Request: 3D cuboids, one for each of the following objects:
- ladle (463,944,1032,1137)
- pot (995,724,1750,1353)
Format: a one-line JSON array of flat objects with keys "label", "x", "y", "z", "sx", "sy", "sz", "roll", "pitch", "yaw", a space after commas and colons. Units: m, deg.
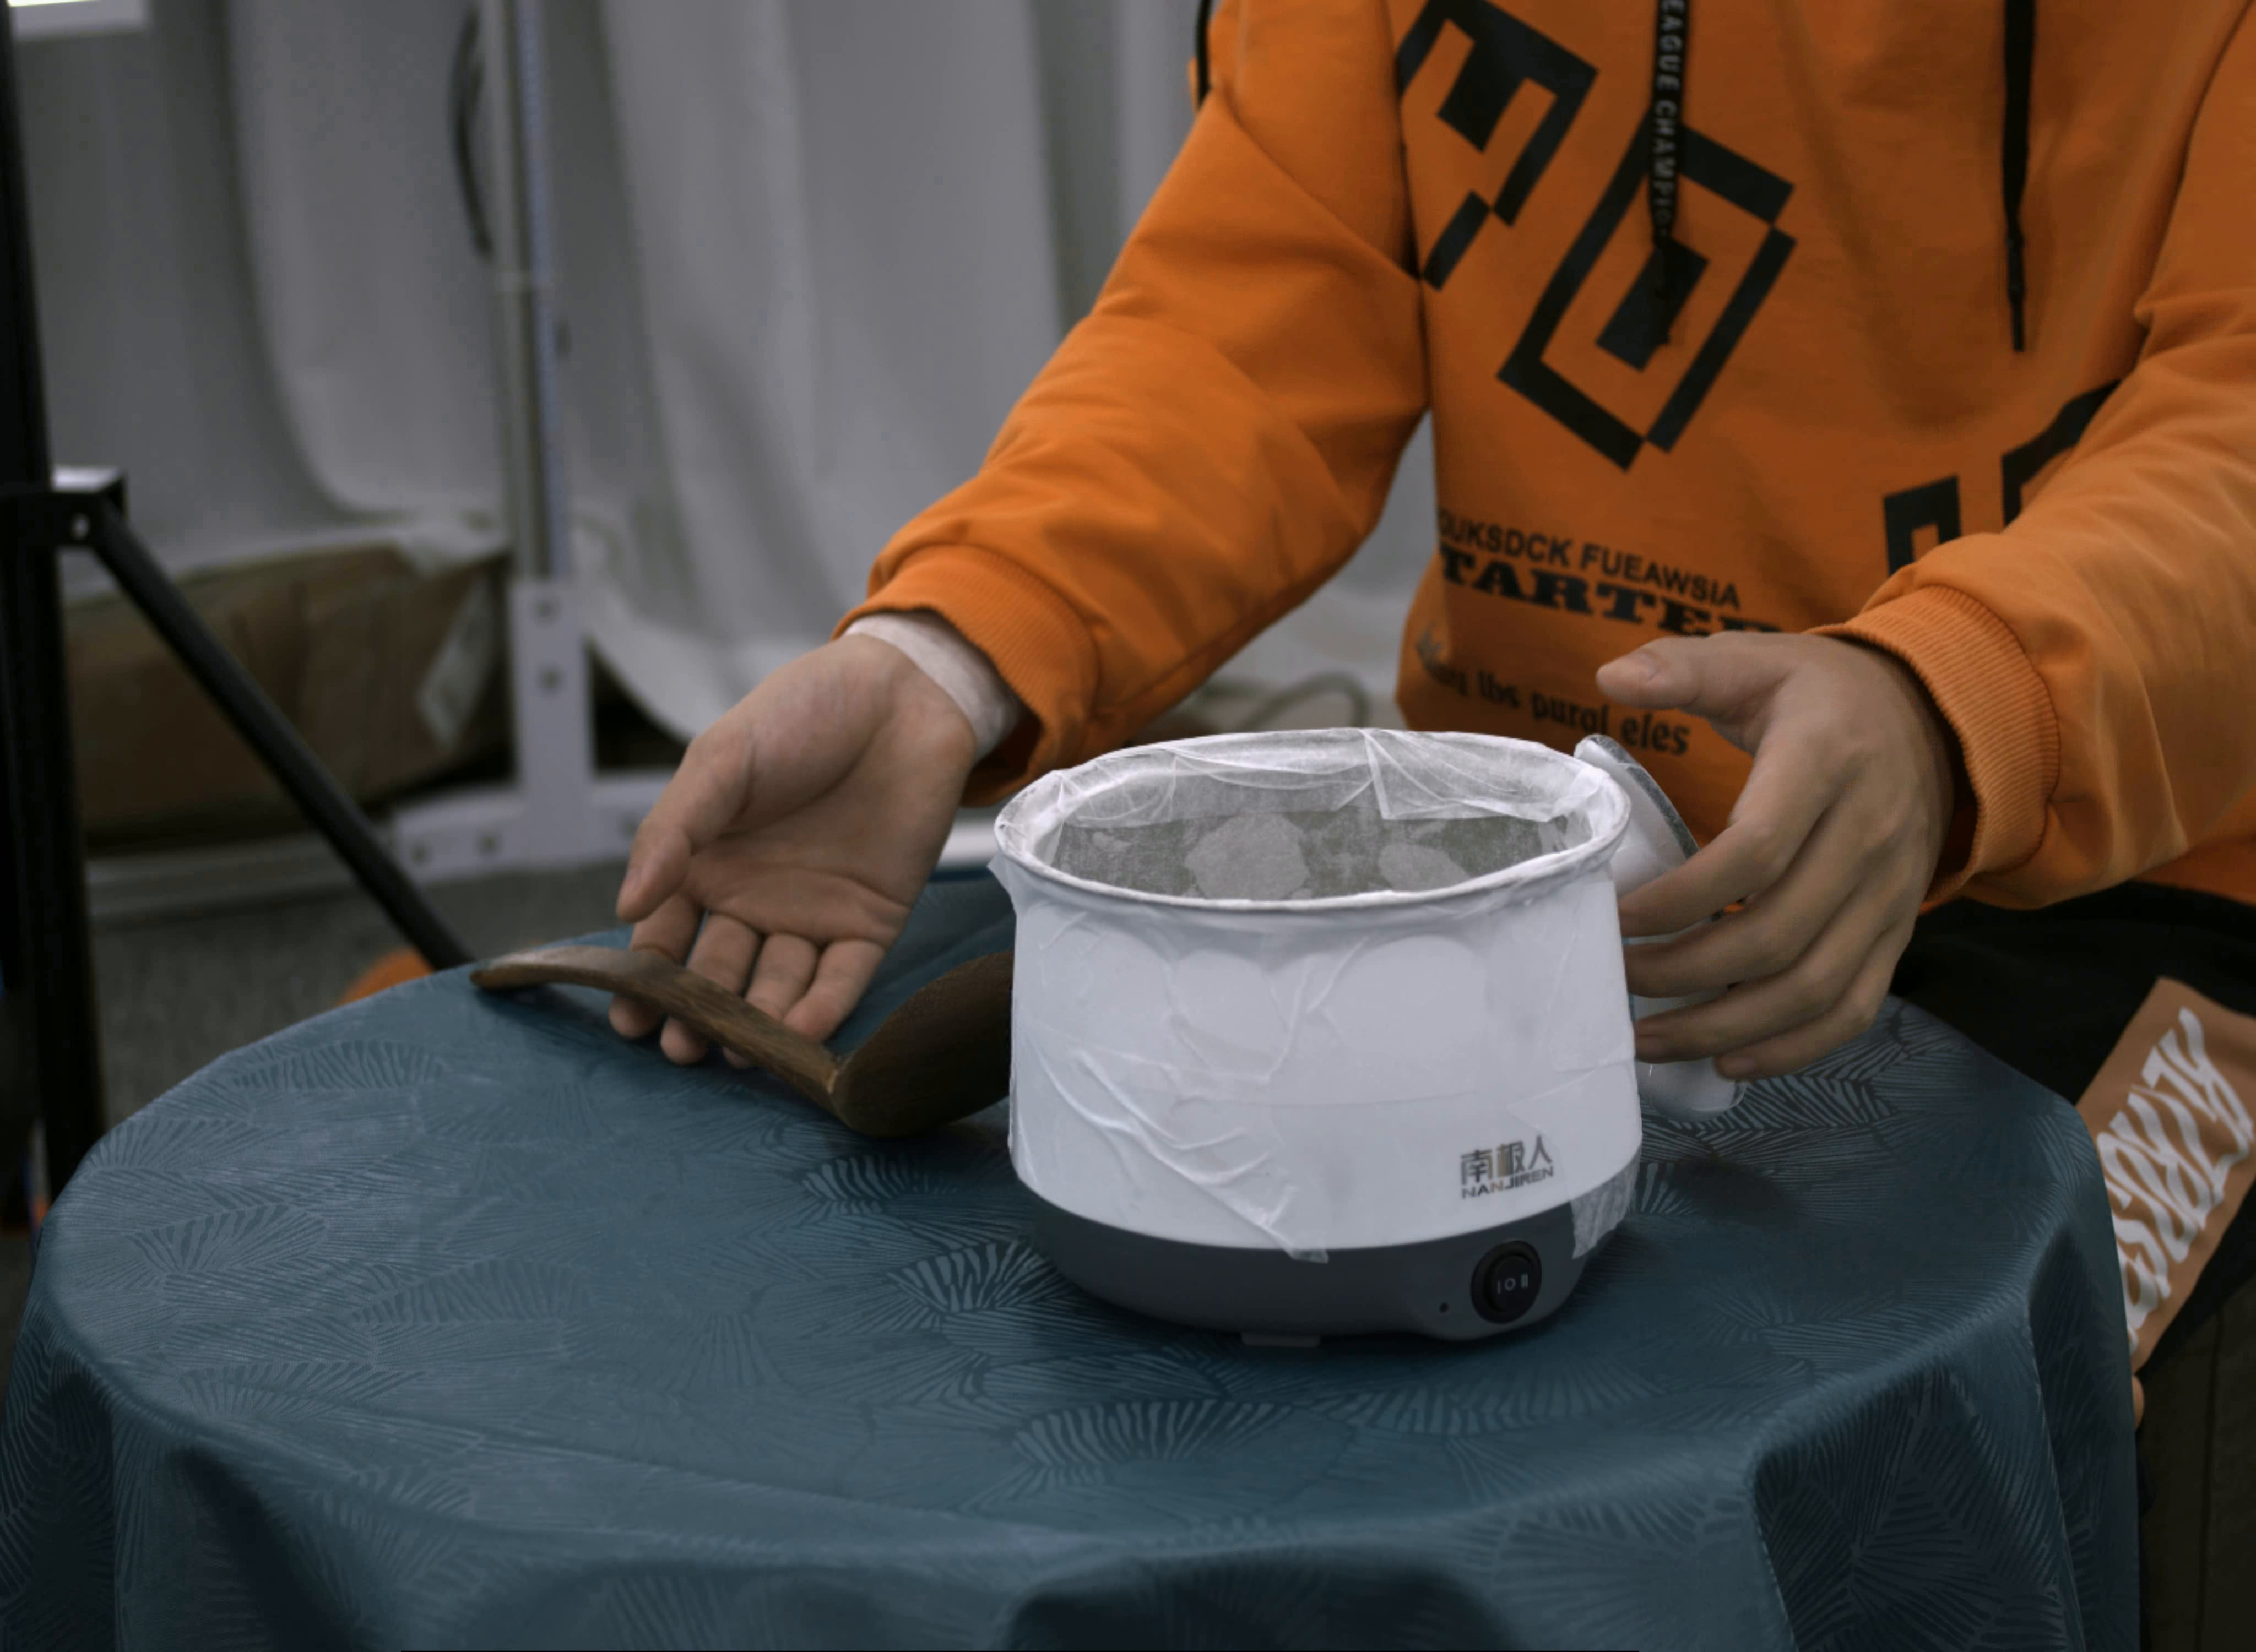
[{"label": "ladle", "x": -0.126, "y": 0.044, "z": 1.676, "sx": 0.074, "sy": 0.071, "sz": 0.280, "roll": -11, "pitch": 18, "yaw": -38}, {"label": "pot", "x": 0.076, "y": 0.052, "z": 1.491, "sx": 0.228, "sy": 0.136, "sz": 0.183, "roll": -12, "pitch": 19, "yaw": -31}]
